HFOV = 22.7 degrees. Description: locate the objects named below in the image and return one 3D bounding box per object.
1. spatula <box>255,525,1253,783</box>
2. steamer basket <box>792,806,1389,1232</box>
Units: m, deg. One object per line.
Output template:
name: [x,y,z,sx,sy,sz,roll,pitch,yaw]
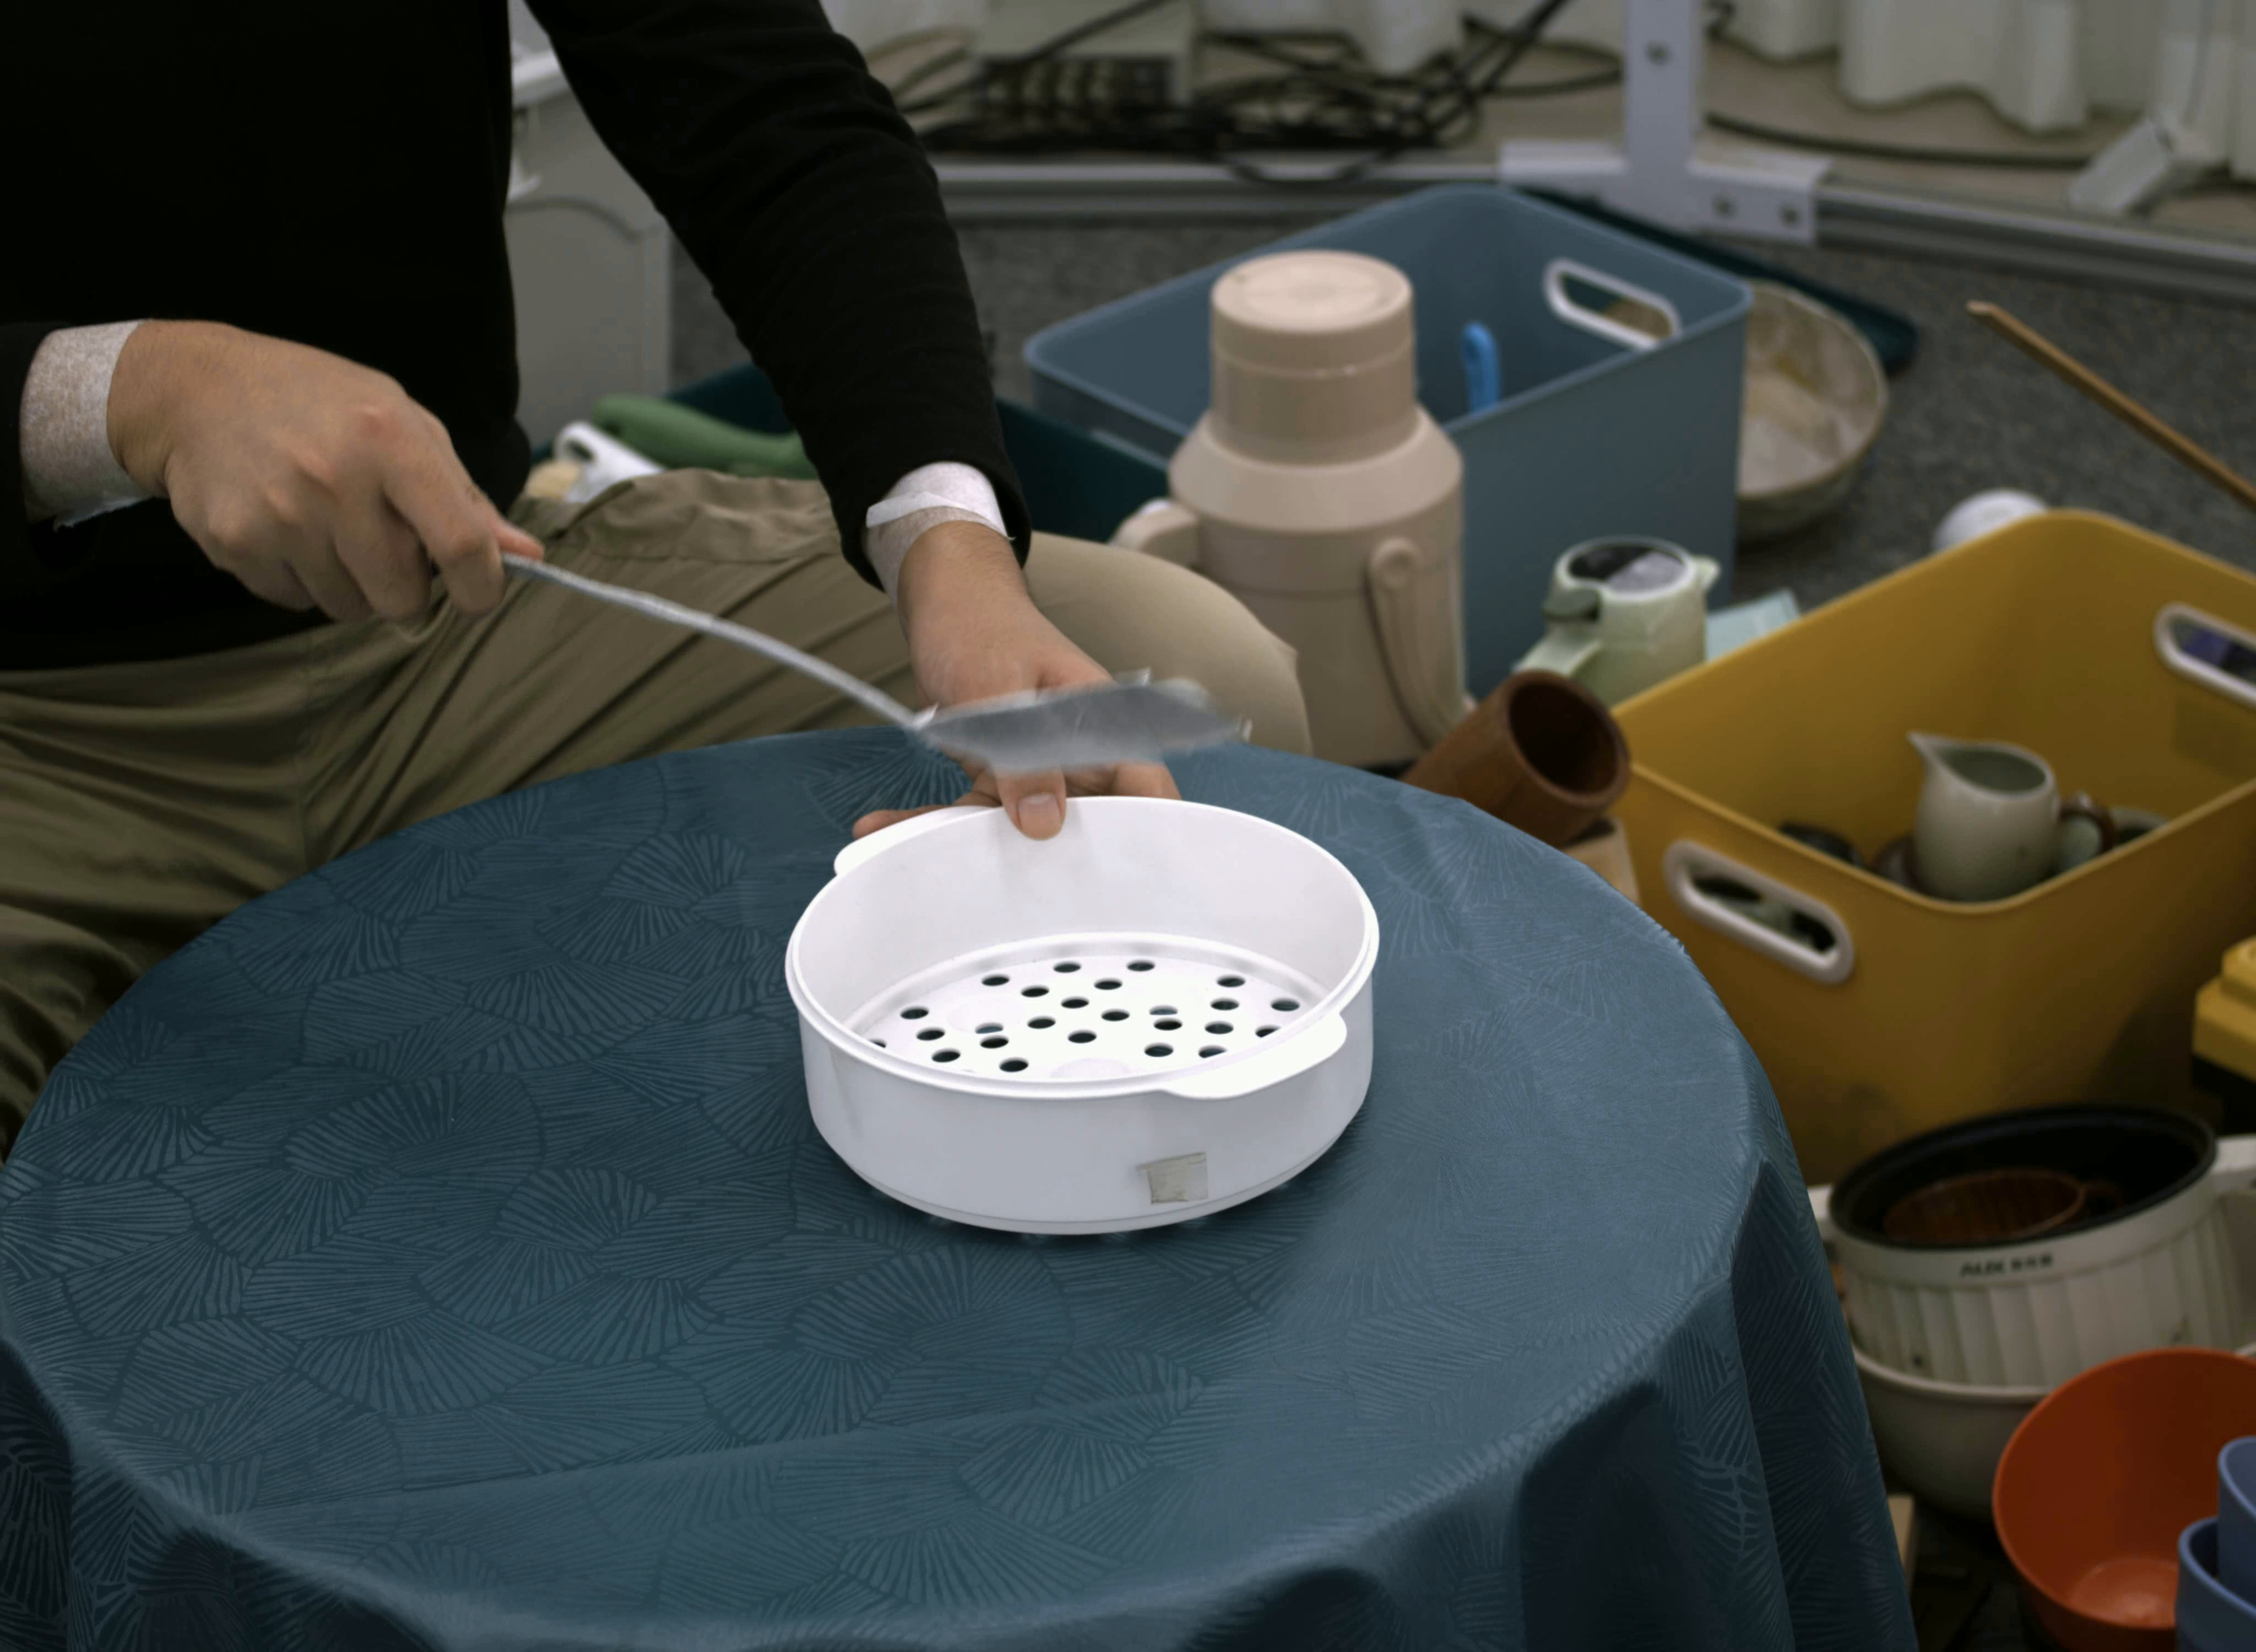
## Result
spatula: [-0.133,-0.065,1.844,0.363,0.045,0.098,18,-3,21]
steamer basket: [-0.011,0.066,1.895,0.203,0.068,0.231,-19,31,-31]
